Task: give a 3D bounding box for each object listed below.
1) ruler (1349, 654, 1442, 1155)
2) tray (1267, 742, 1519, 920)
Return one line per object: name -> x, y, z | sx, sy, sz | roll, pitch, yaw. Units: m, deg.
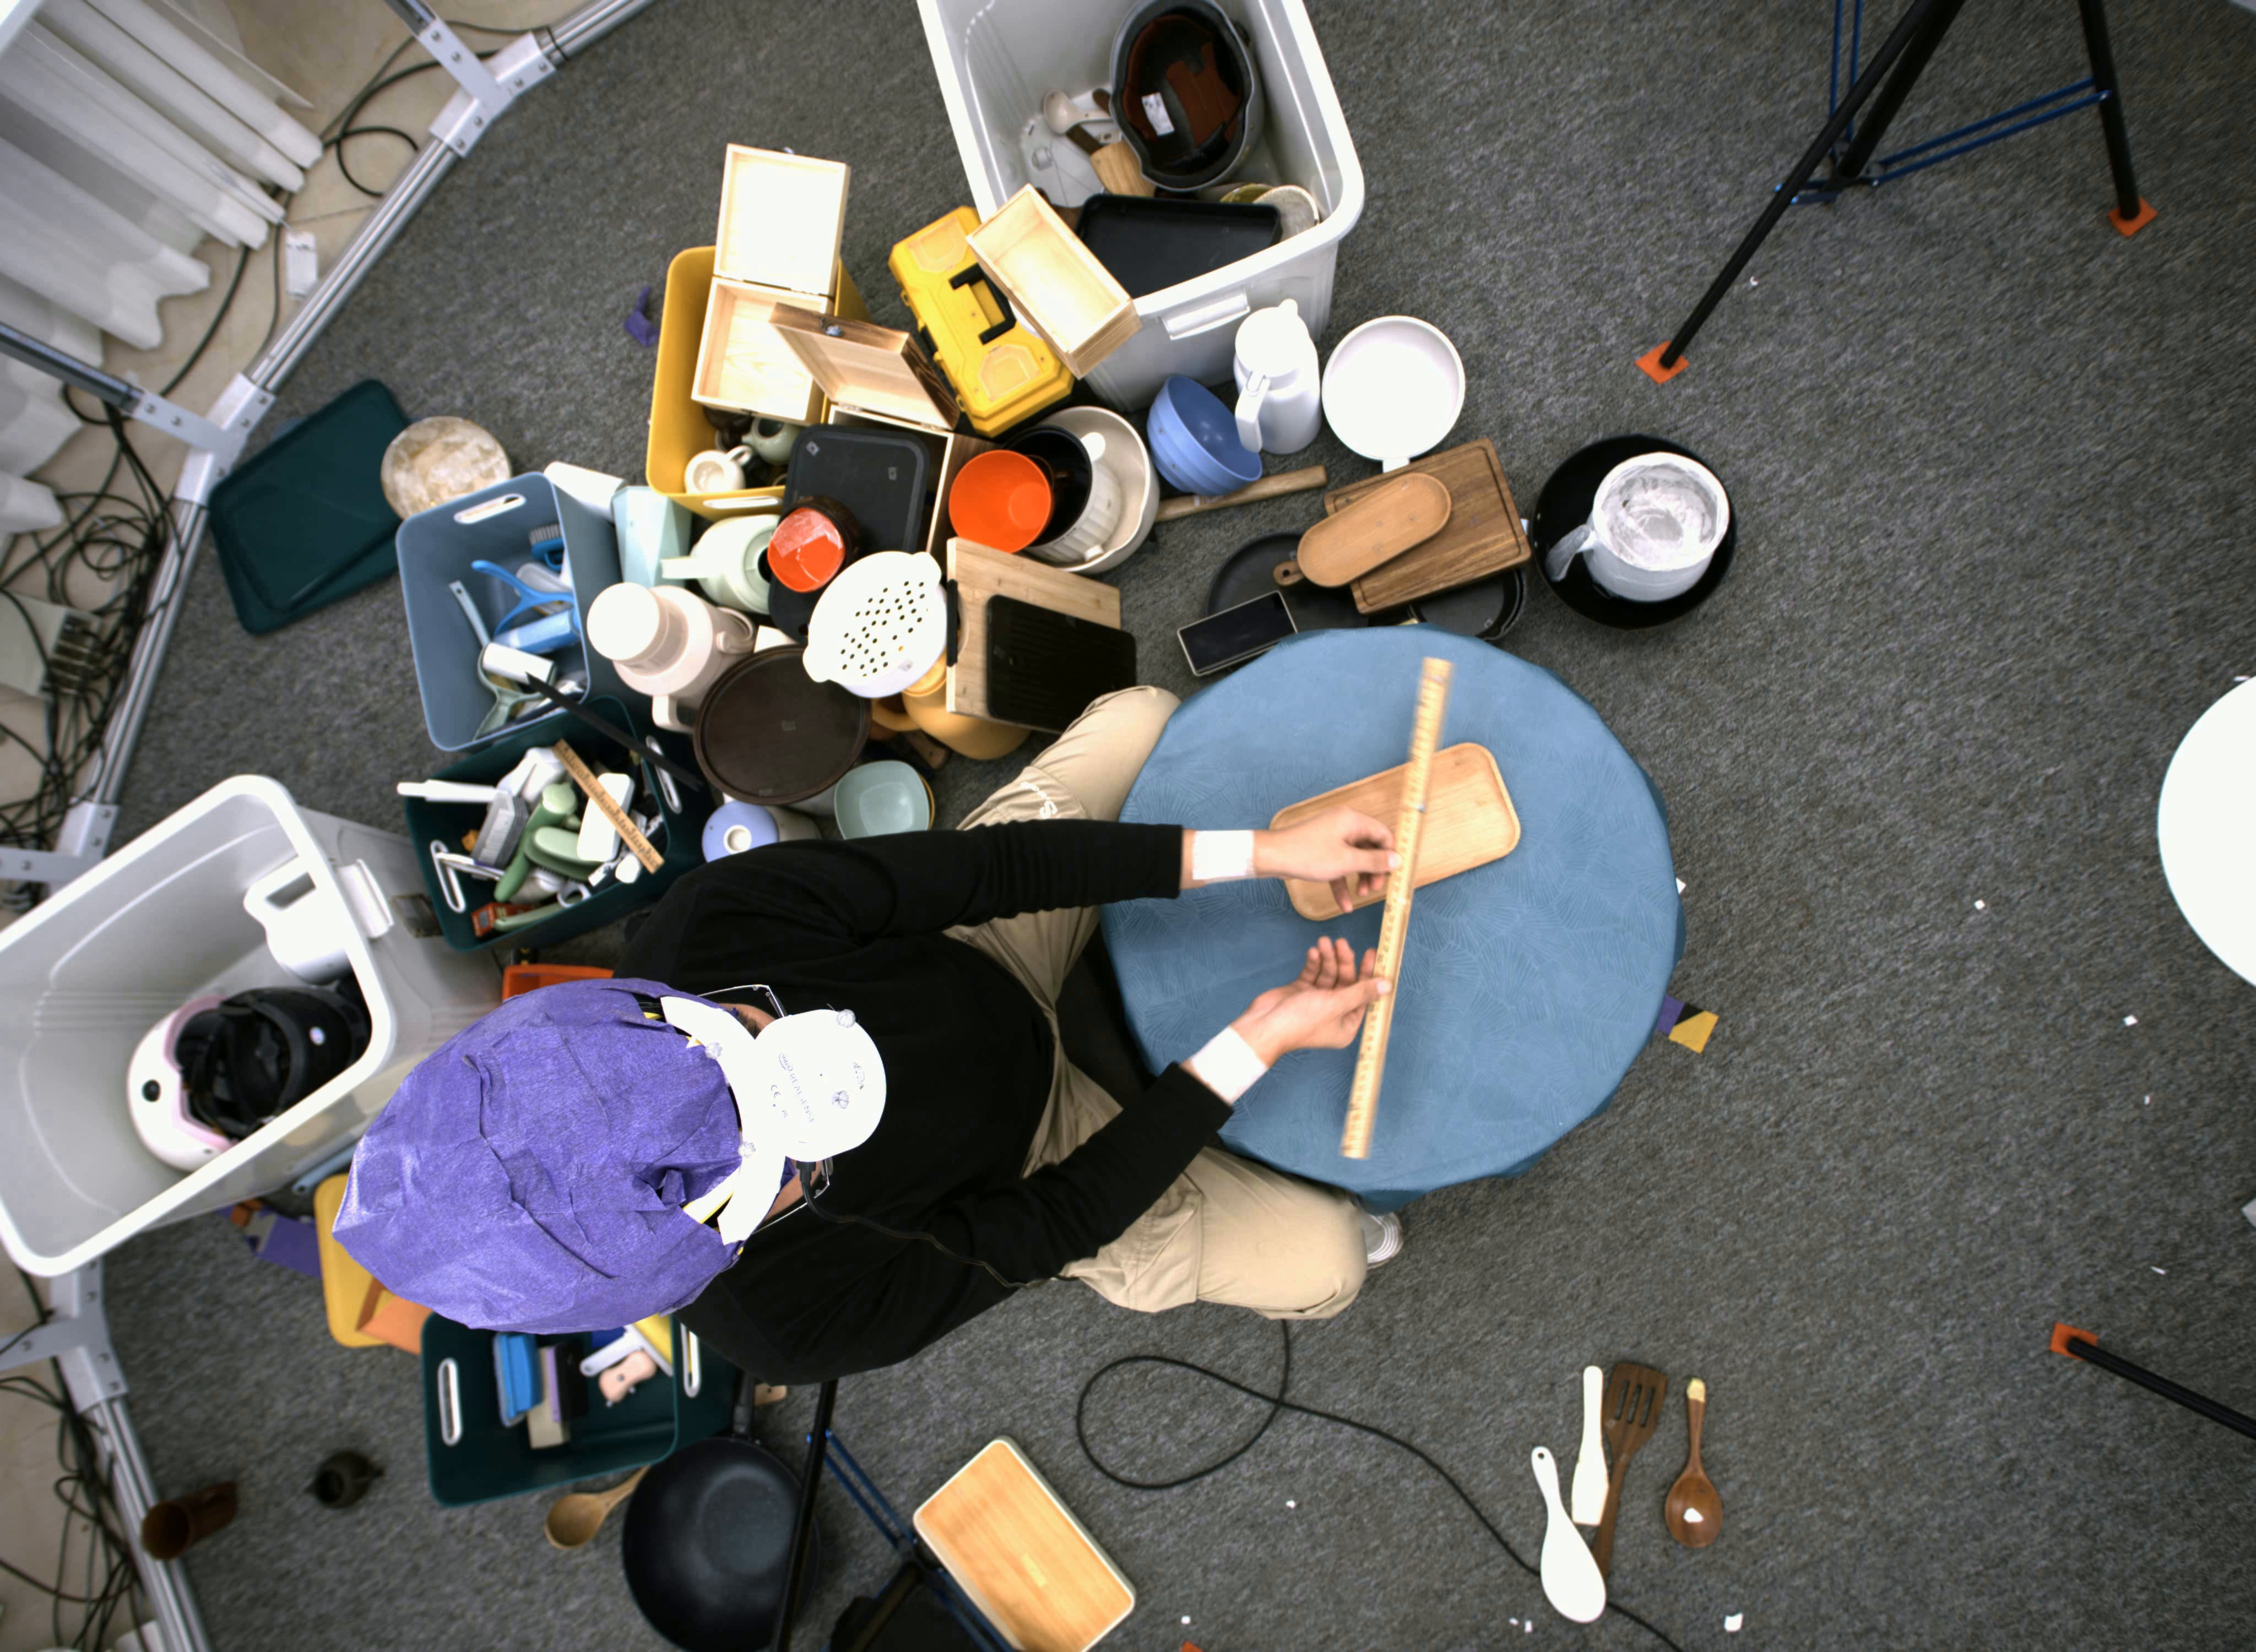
ruler -> 0.264, 0.077, 1.366 | 0.027, 0.006, 0.501 | 9, 94, 20
tray -> 0.278, 0.005, 1.454 | 0.252, 0.023, 0.129 | -19, 81, 10
